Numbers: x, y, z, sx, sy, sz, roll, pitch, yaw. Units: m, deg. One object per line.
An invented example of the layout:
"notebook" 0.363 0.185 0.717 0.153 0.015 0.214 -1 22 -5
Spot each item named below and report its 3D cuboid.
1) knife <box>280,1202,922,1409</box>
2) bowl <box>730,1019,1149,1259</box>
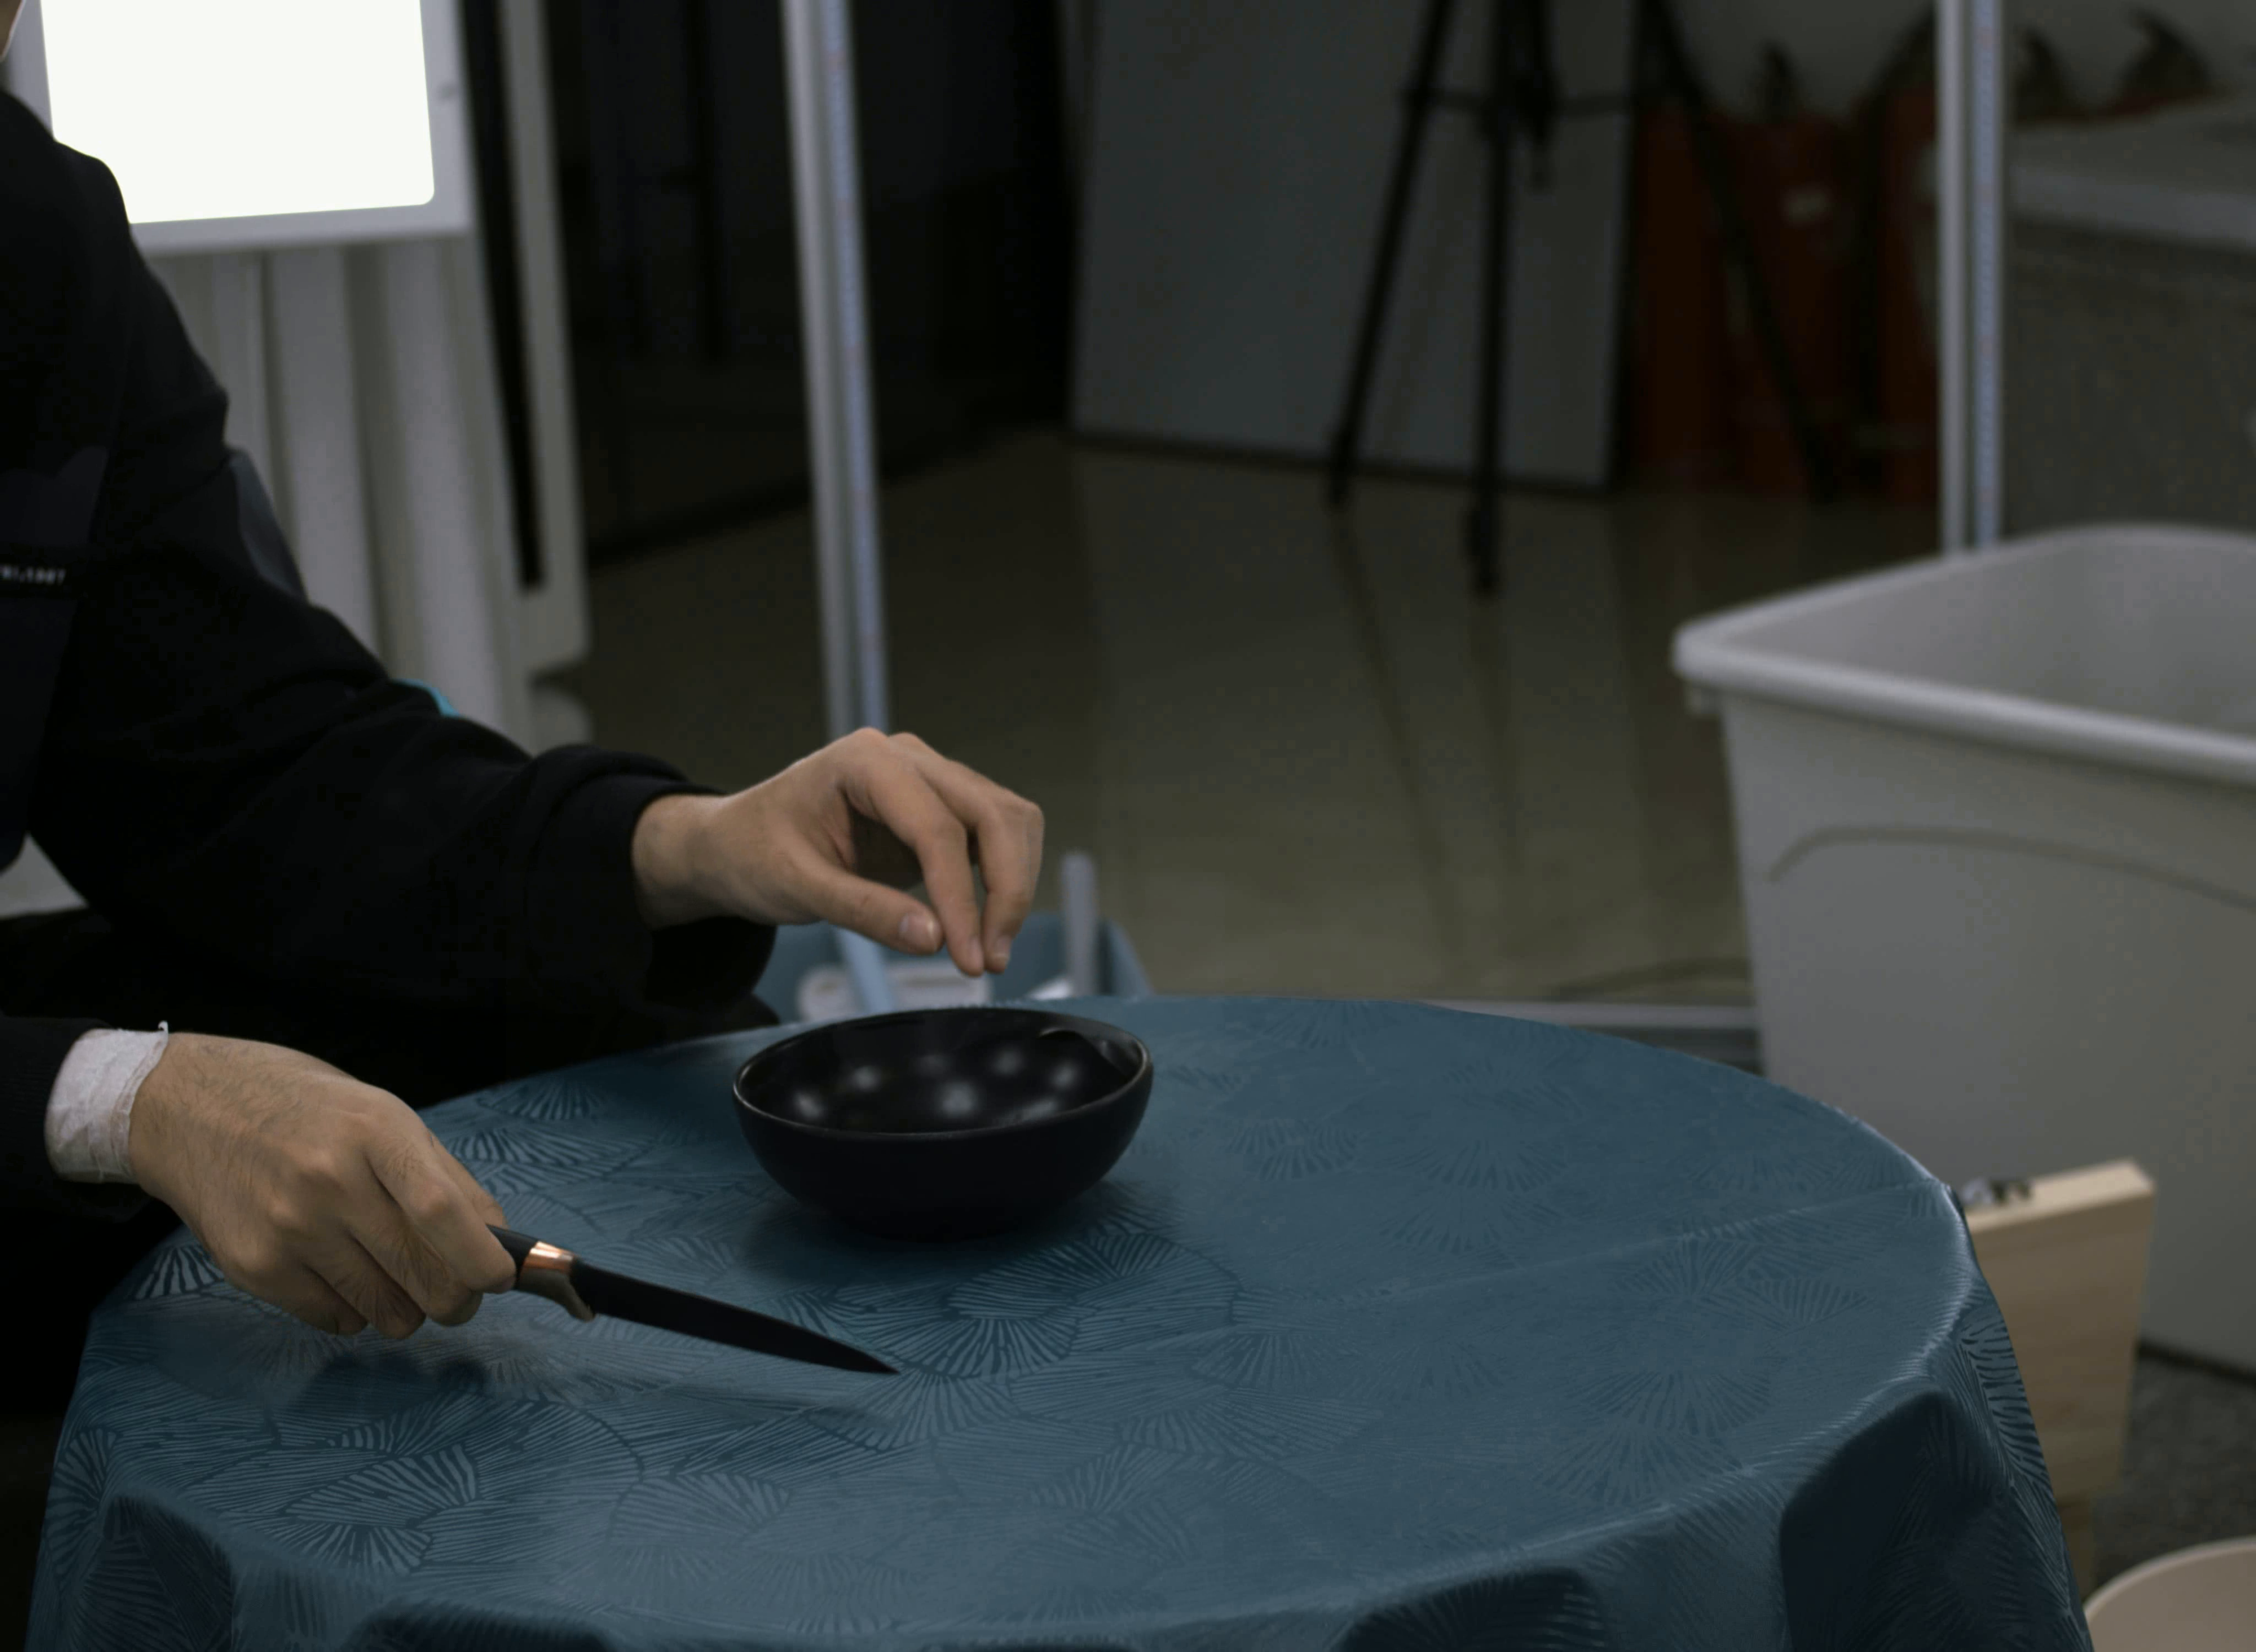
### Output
"knife" -0.161 0.144 1.631 0.226 0.026 0.017 12 44 26
"bowl" -0.058 0.106 1.758 0.138 0.050 0.140 -8 13 1
